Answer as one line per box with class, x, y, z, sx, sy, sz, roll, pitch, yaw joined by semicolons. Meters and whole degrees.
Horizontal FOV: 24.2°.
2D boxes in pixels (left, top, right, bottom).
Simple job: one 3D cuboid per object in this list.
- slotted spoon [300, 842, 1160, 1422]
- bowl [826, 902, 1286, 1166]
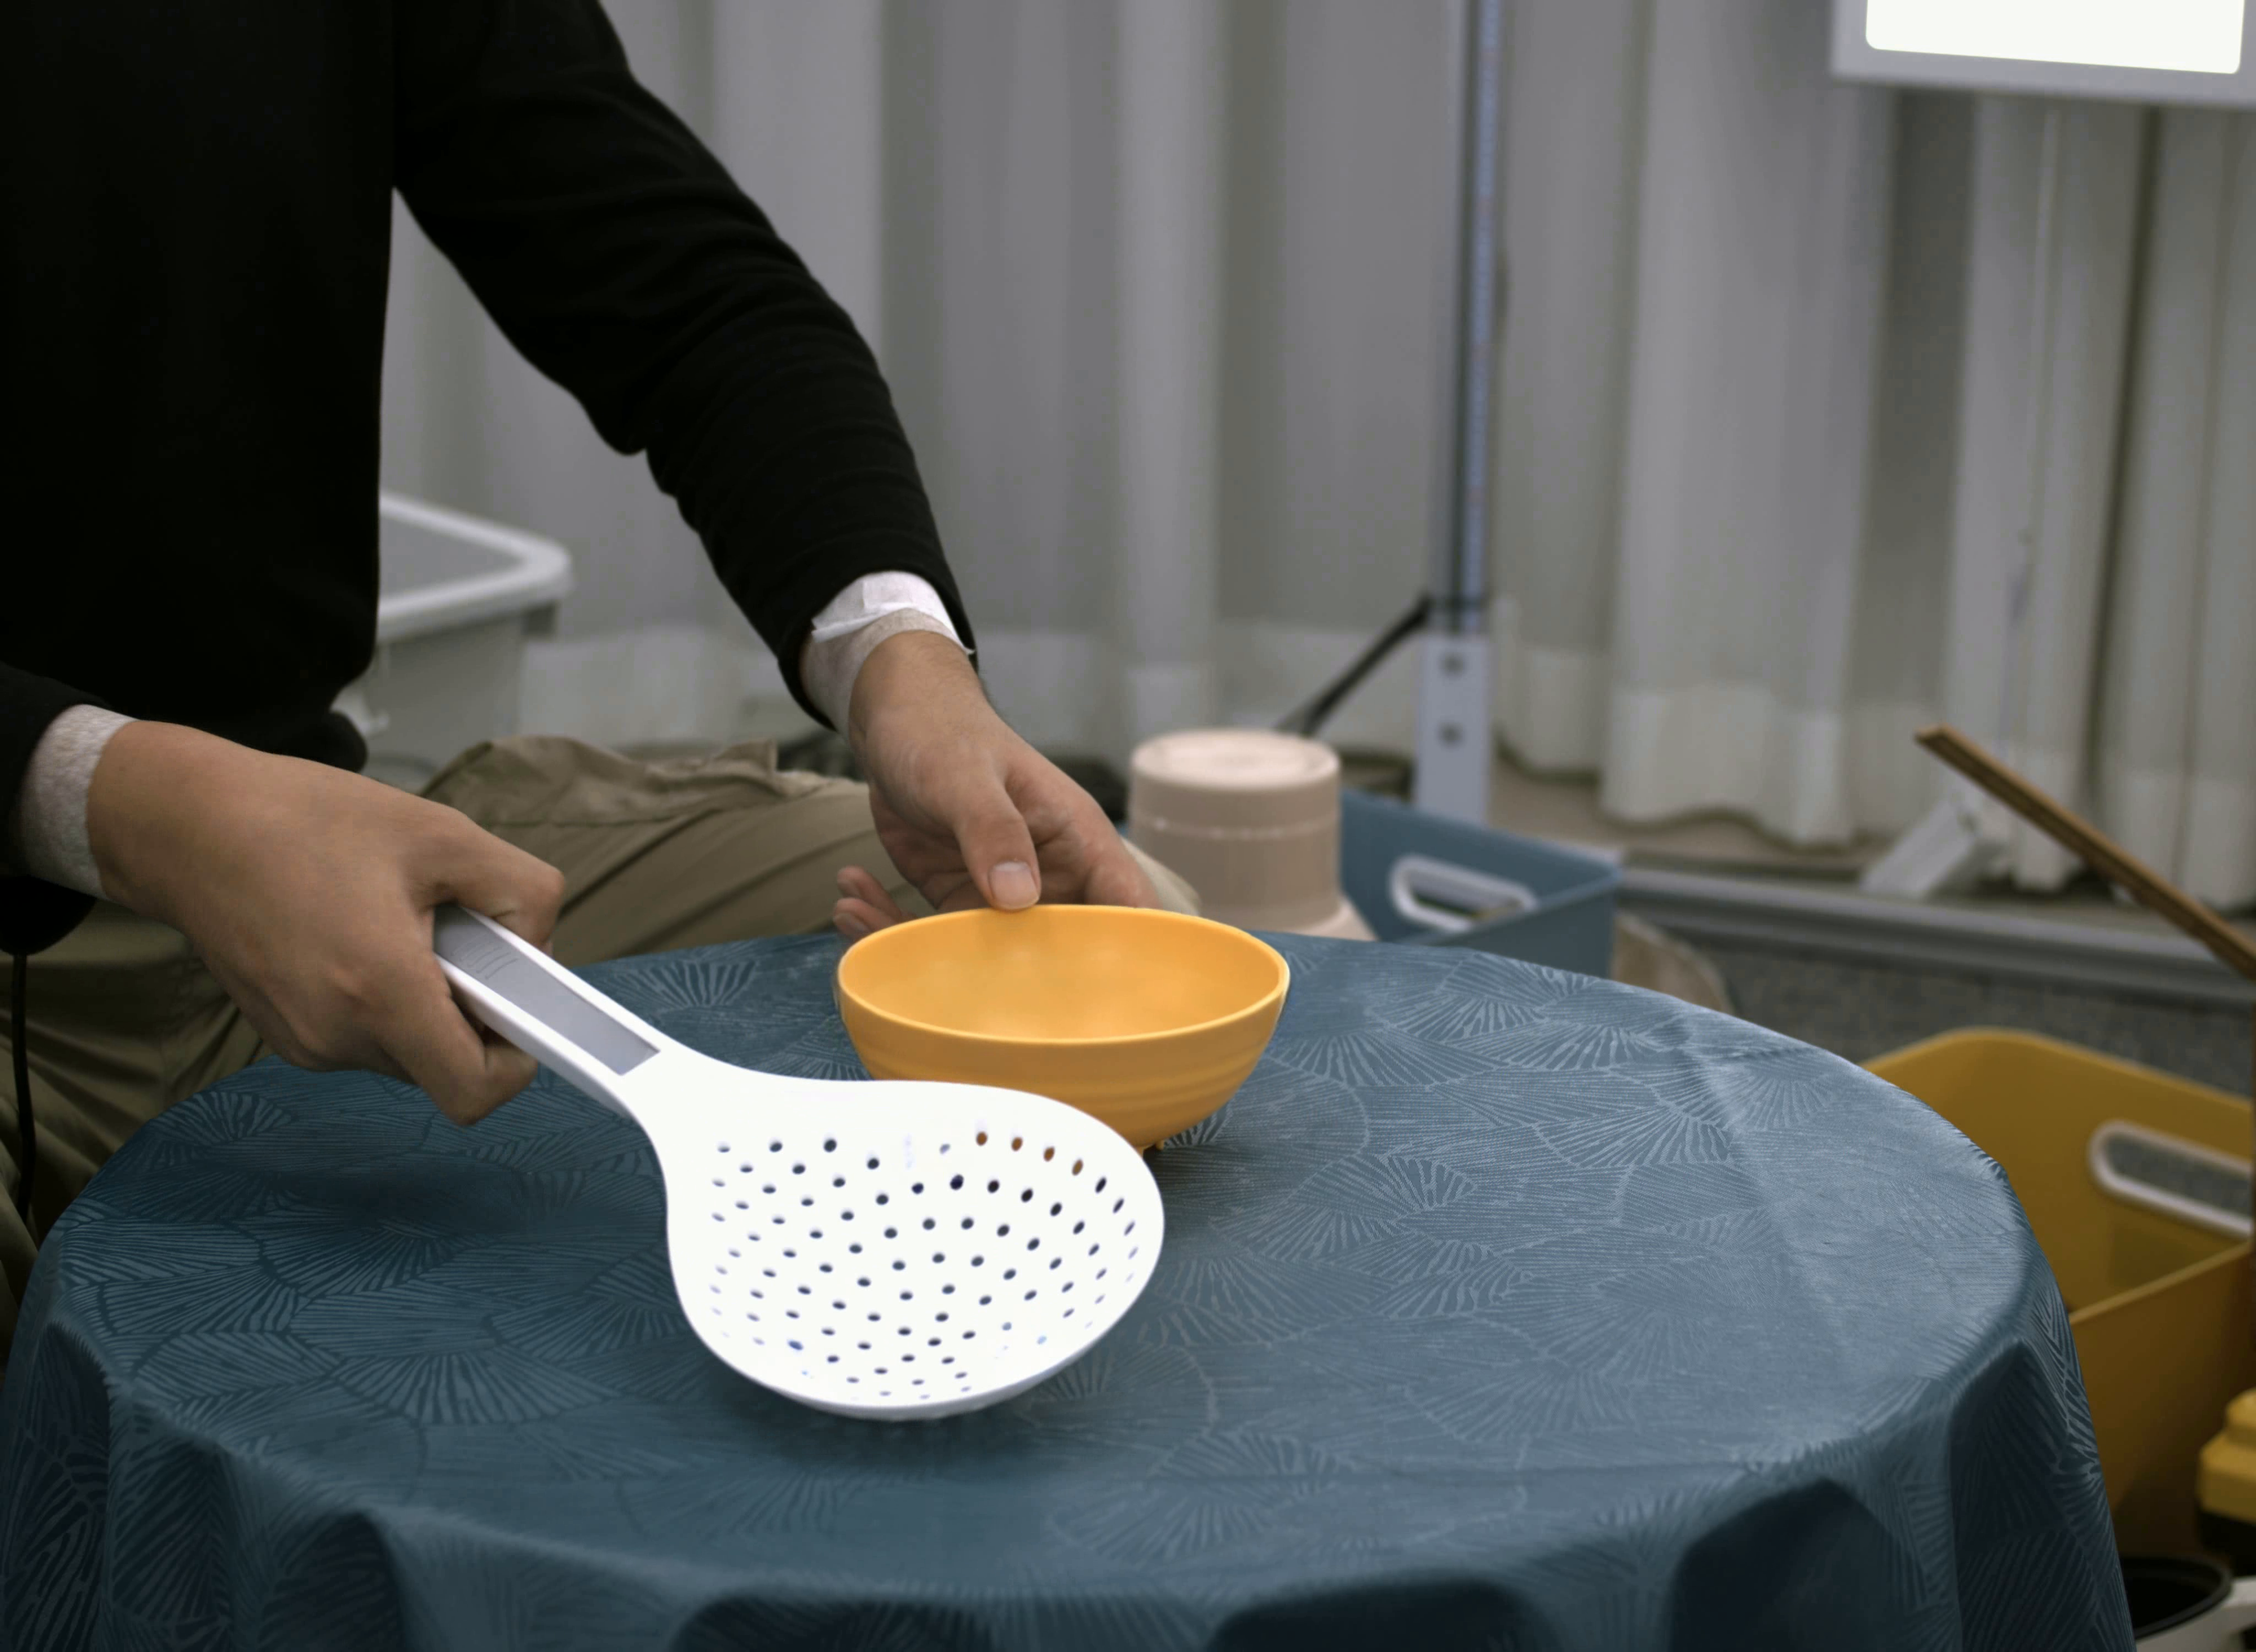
slotted spoon;-0.130;0.079;1.523;0.136;0.046;0.345;-34;49;-30
bowl;-0.024;0.073;1.656;0.145;0.060;0.144;3;16;0
